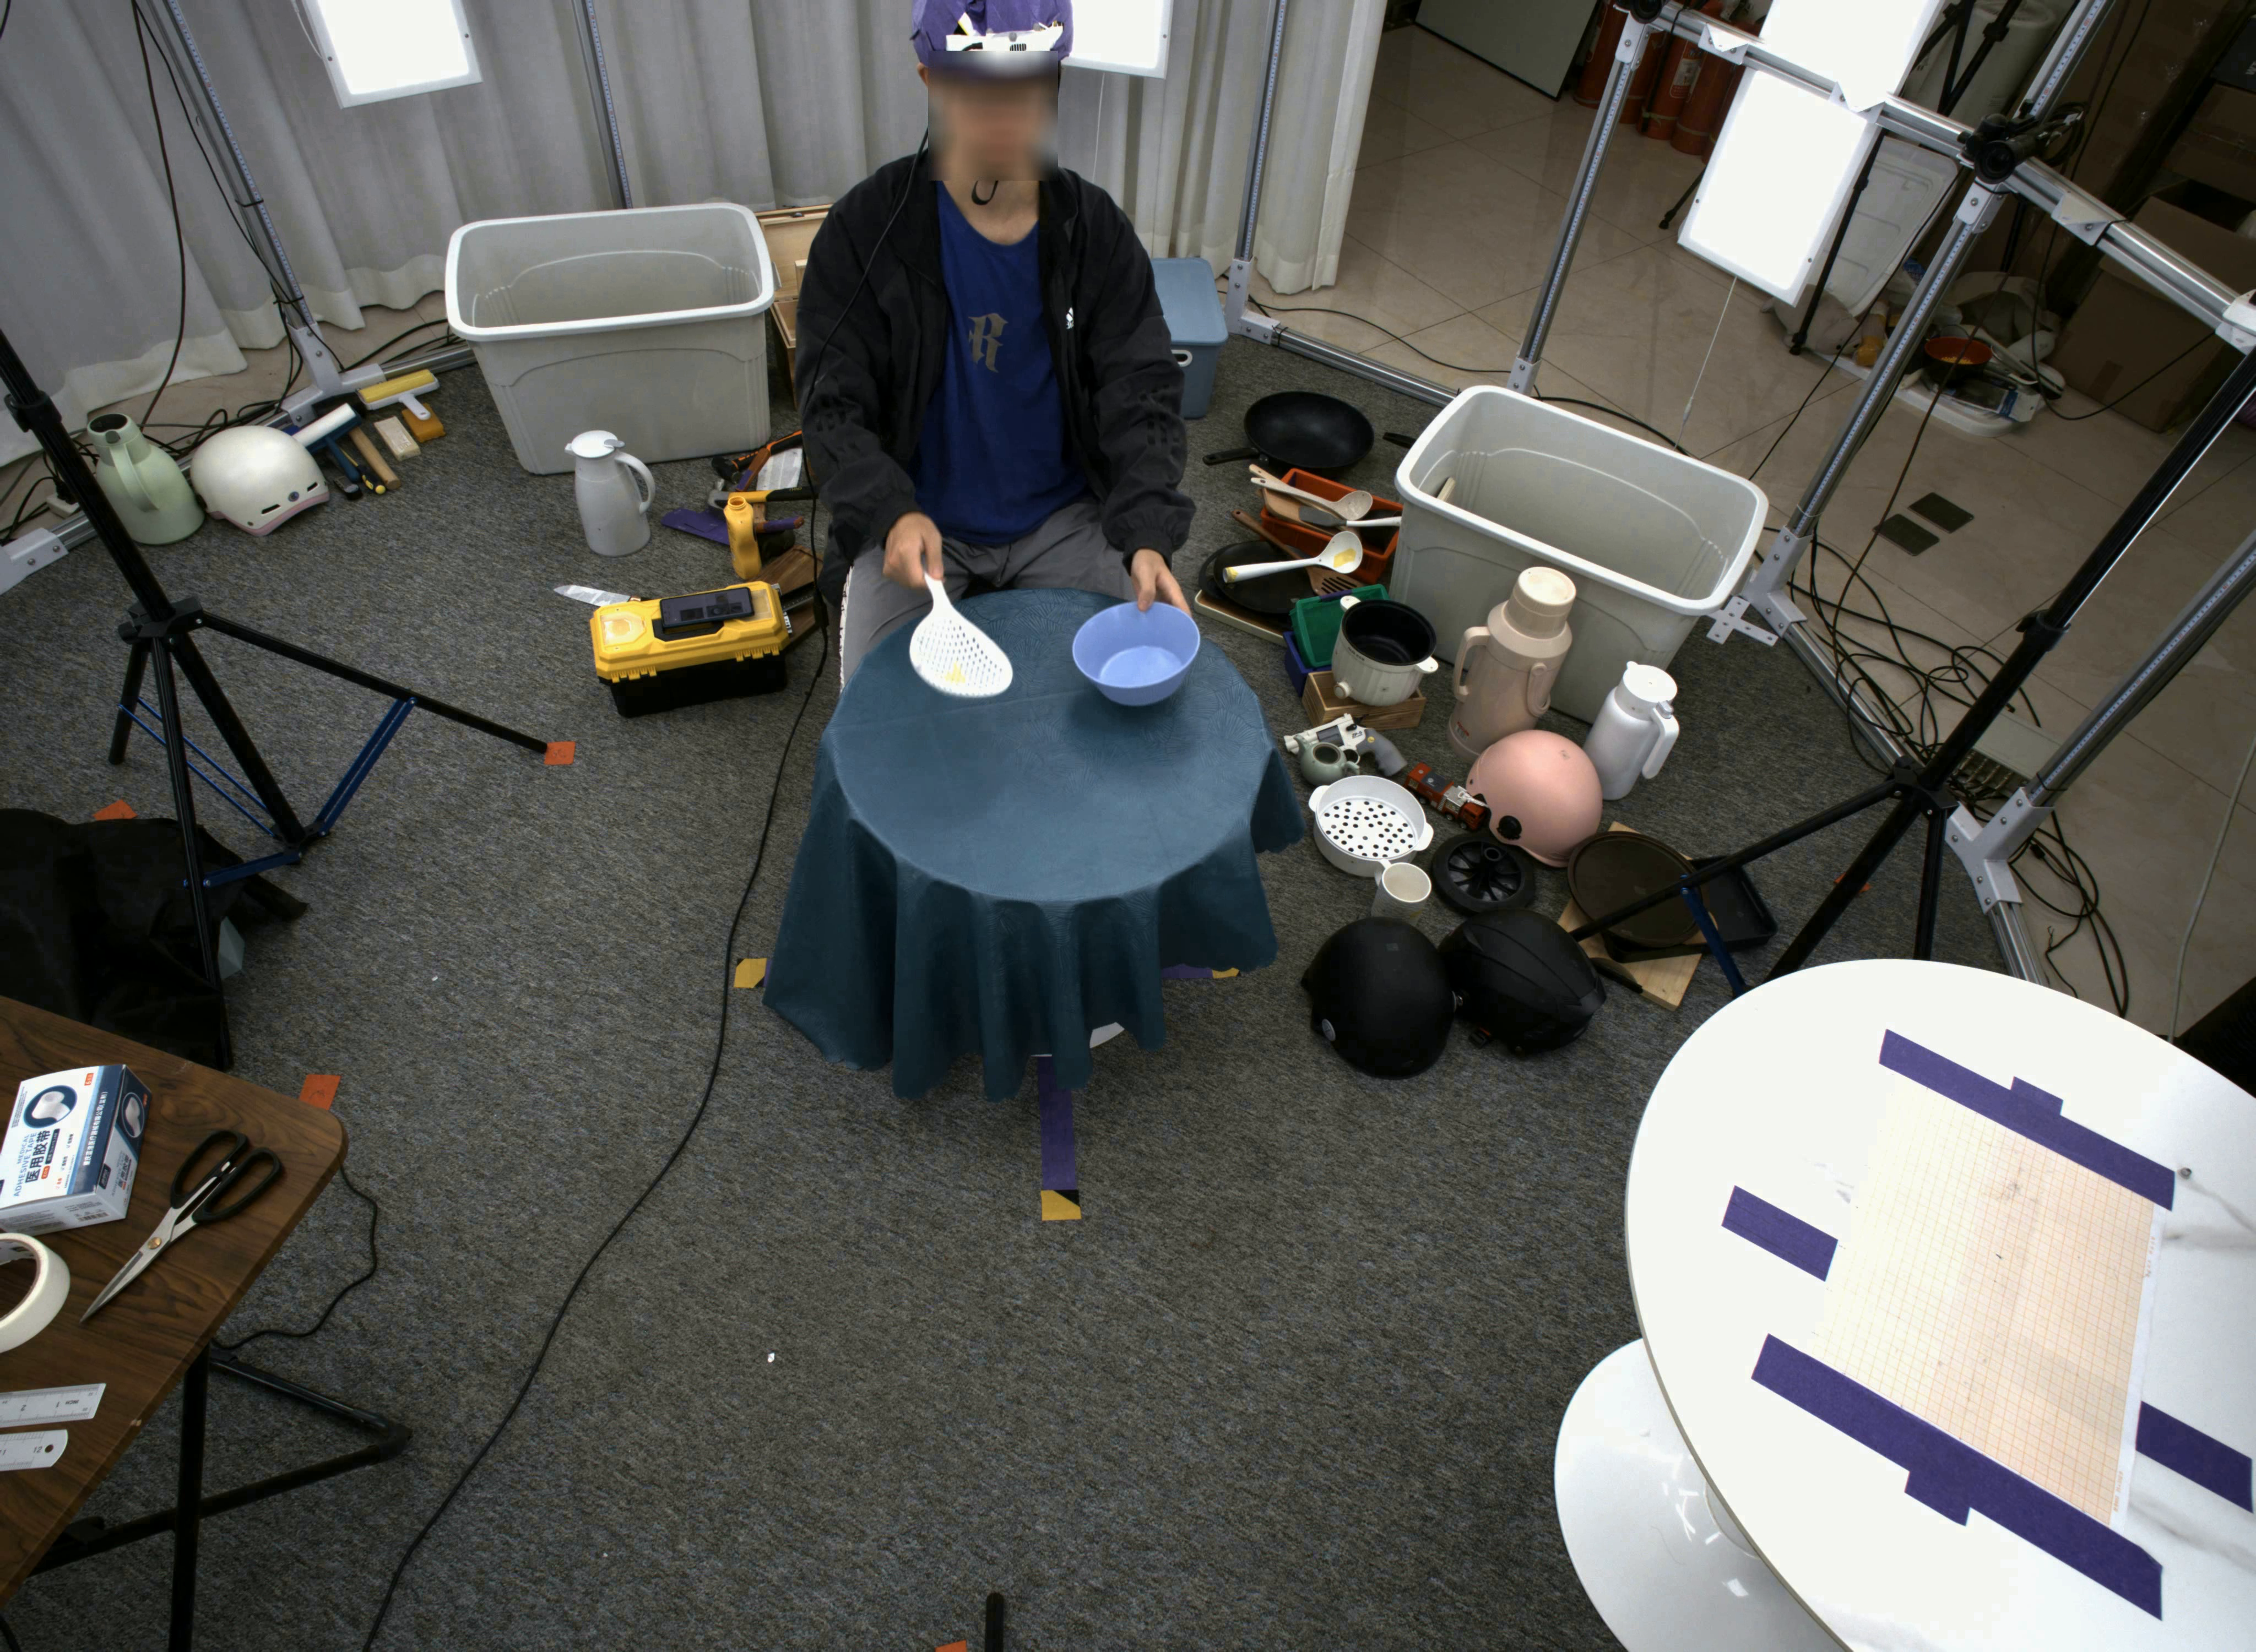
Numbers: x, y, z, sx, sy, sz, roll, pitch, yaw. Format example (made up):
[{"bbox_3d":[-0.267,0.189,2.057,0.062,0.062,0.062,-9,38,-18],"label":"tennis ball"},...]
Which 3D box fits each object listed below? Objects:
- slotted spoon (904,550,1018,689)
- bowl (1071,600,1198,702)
[{"bbox_3d":[-0.249,-0.288,1.741,0.136,0.049,0.356,-1,45,-24],"label":"slotted spoon"},{"bbox_3d":[0.012,-0.235,1.785,0.176,0.068,0.180,-5,47,6],"label":"bowl"}]
